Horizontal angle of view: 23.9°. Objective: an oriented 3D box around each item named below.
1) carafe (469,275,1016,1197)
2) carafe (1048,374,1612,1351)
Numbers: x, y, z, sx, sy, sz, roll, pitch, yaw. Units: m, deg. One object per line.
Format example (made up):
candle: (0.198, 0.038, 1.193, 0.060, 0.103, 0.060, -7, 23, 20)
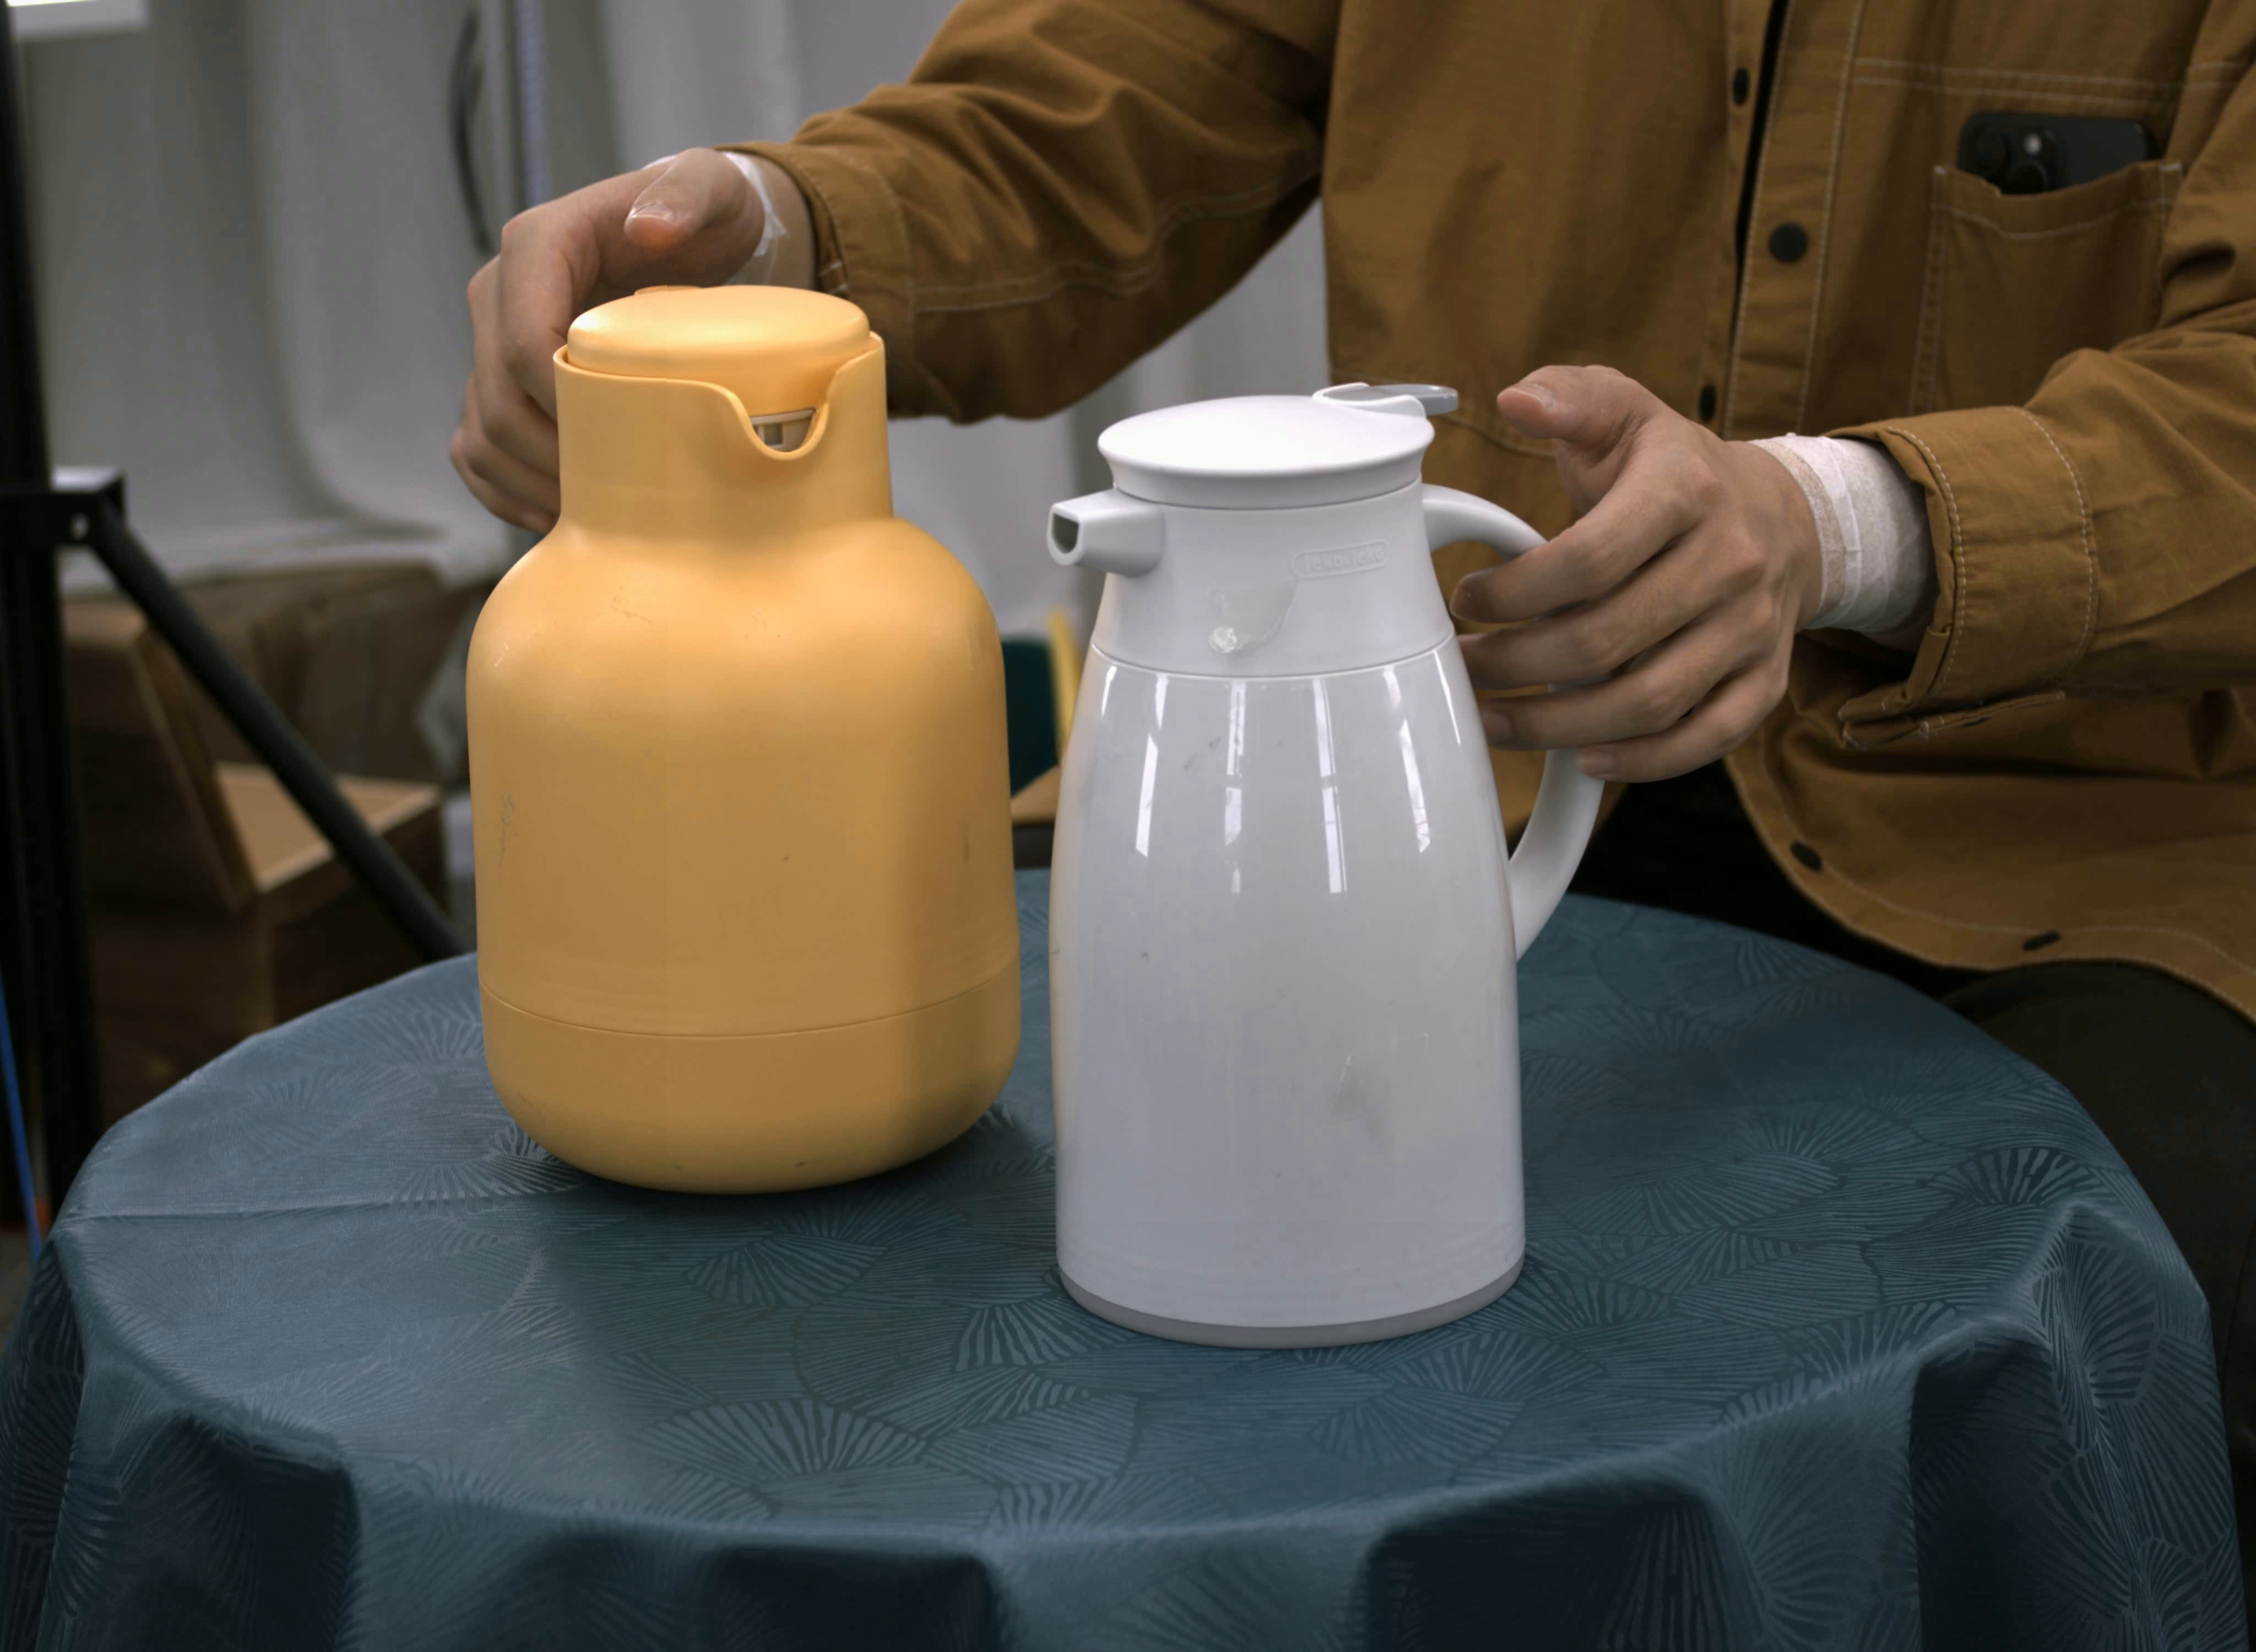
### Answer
carafe: (-0.120, -0.035, 1.607, 0.161, 0.260, 0.205, -4, 16, -15)
carafe: (0.058, 0.002, 1.467, 0.164, 0.248, 0.135, -9, 16, -26)
